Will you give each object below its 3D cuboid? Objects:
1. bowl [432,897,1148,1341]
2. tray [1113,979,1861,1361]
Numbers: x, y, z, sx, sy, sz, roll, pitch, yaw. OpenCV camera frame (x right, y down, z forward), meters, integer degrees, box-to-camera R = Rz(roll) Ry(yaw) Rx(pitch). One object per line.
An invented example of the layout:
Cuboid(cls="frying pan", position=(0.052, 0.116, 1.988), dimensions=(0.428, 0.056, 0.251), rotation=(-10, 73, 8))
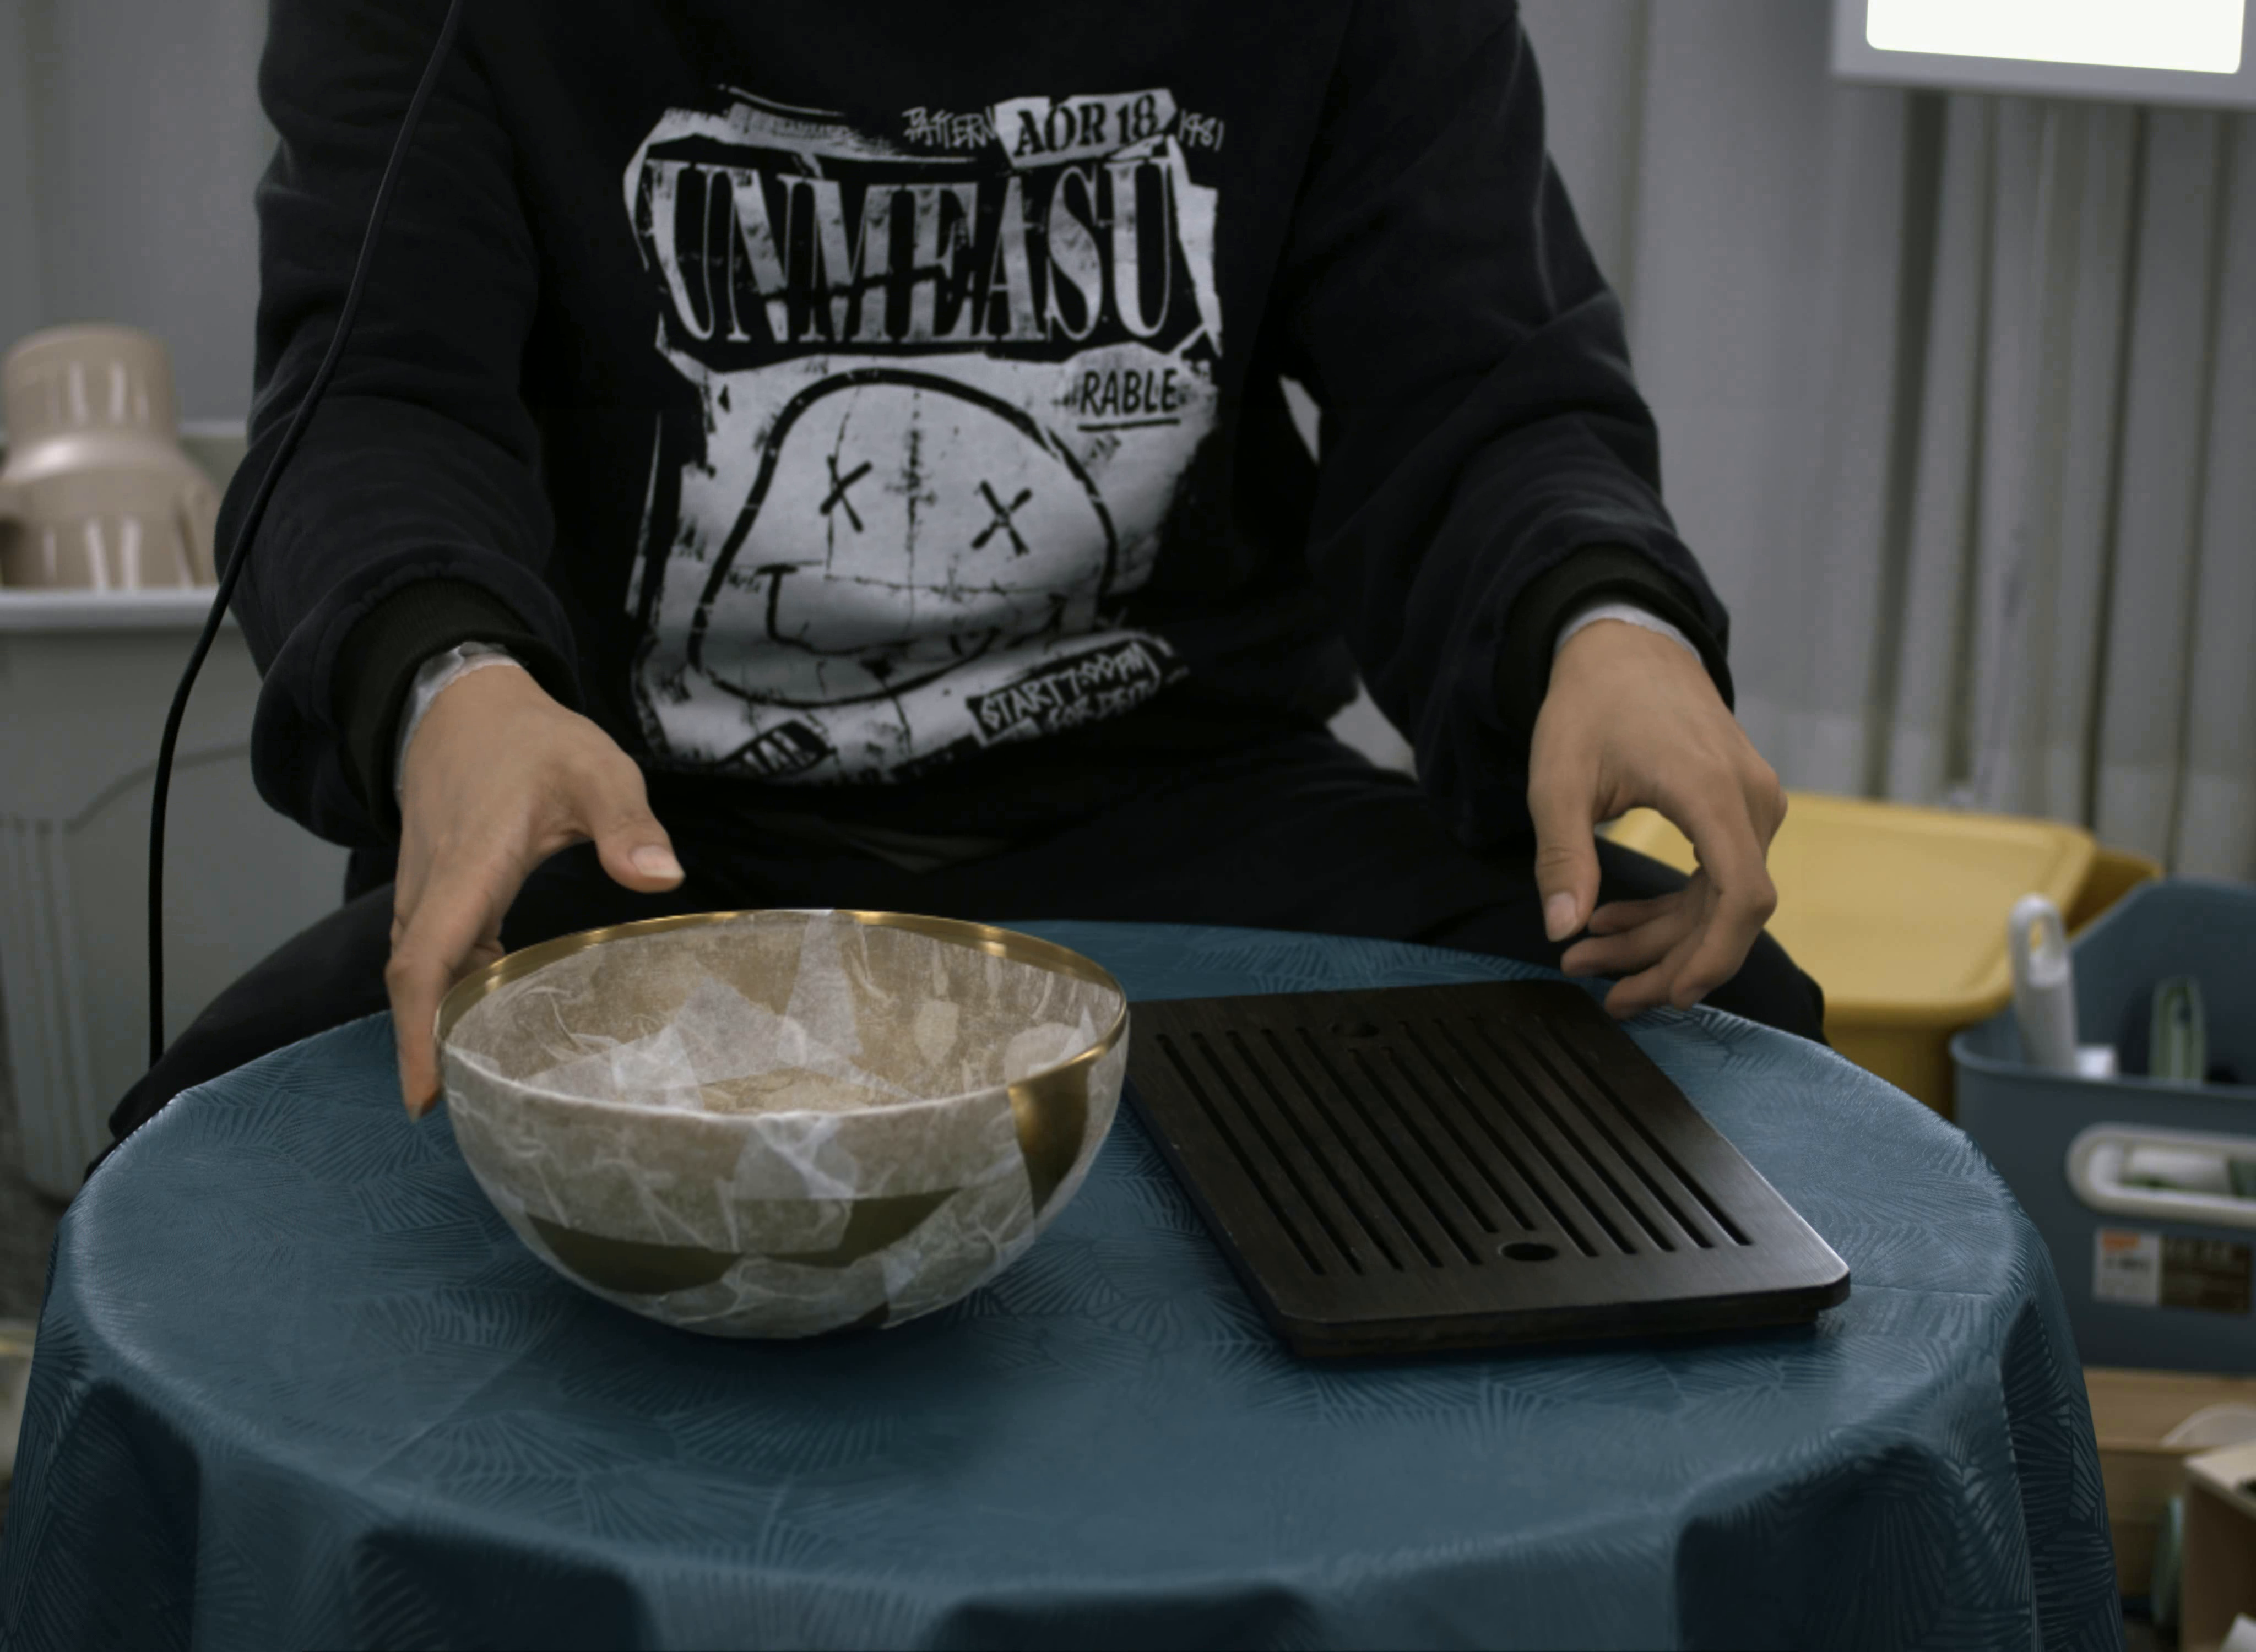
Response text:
Cuboid(cls="bowl", position=(-0.095, 0.093, 1.522), dimensions=(0.214, 0.095, 0.213), rotation=(0, 16, 1))
Cuboid(cls="tray", position=(0.100, 0.103, 1.632), dimensions=(0.170, 0.019, 0.303), rotation=(-3, 16, -11))
